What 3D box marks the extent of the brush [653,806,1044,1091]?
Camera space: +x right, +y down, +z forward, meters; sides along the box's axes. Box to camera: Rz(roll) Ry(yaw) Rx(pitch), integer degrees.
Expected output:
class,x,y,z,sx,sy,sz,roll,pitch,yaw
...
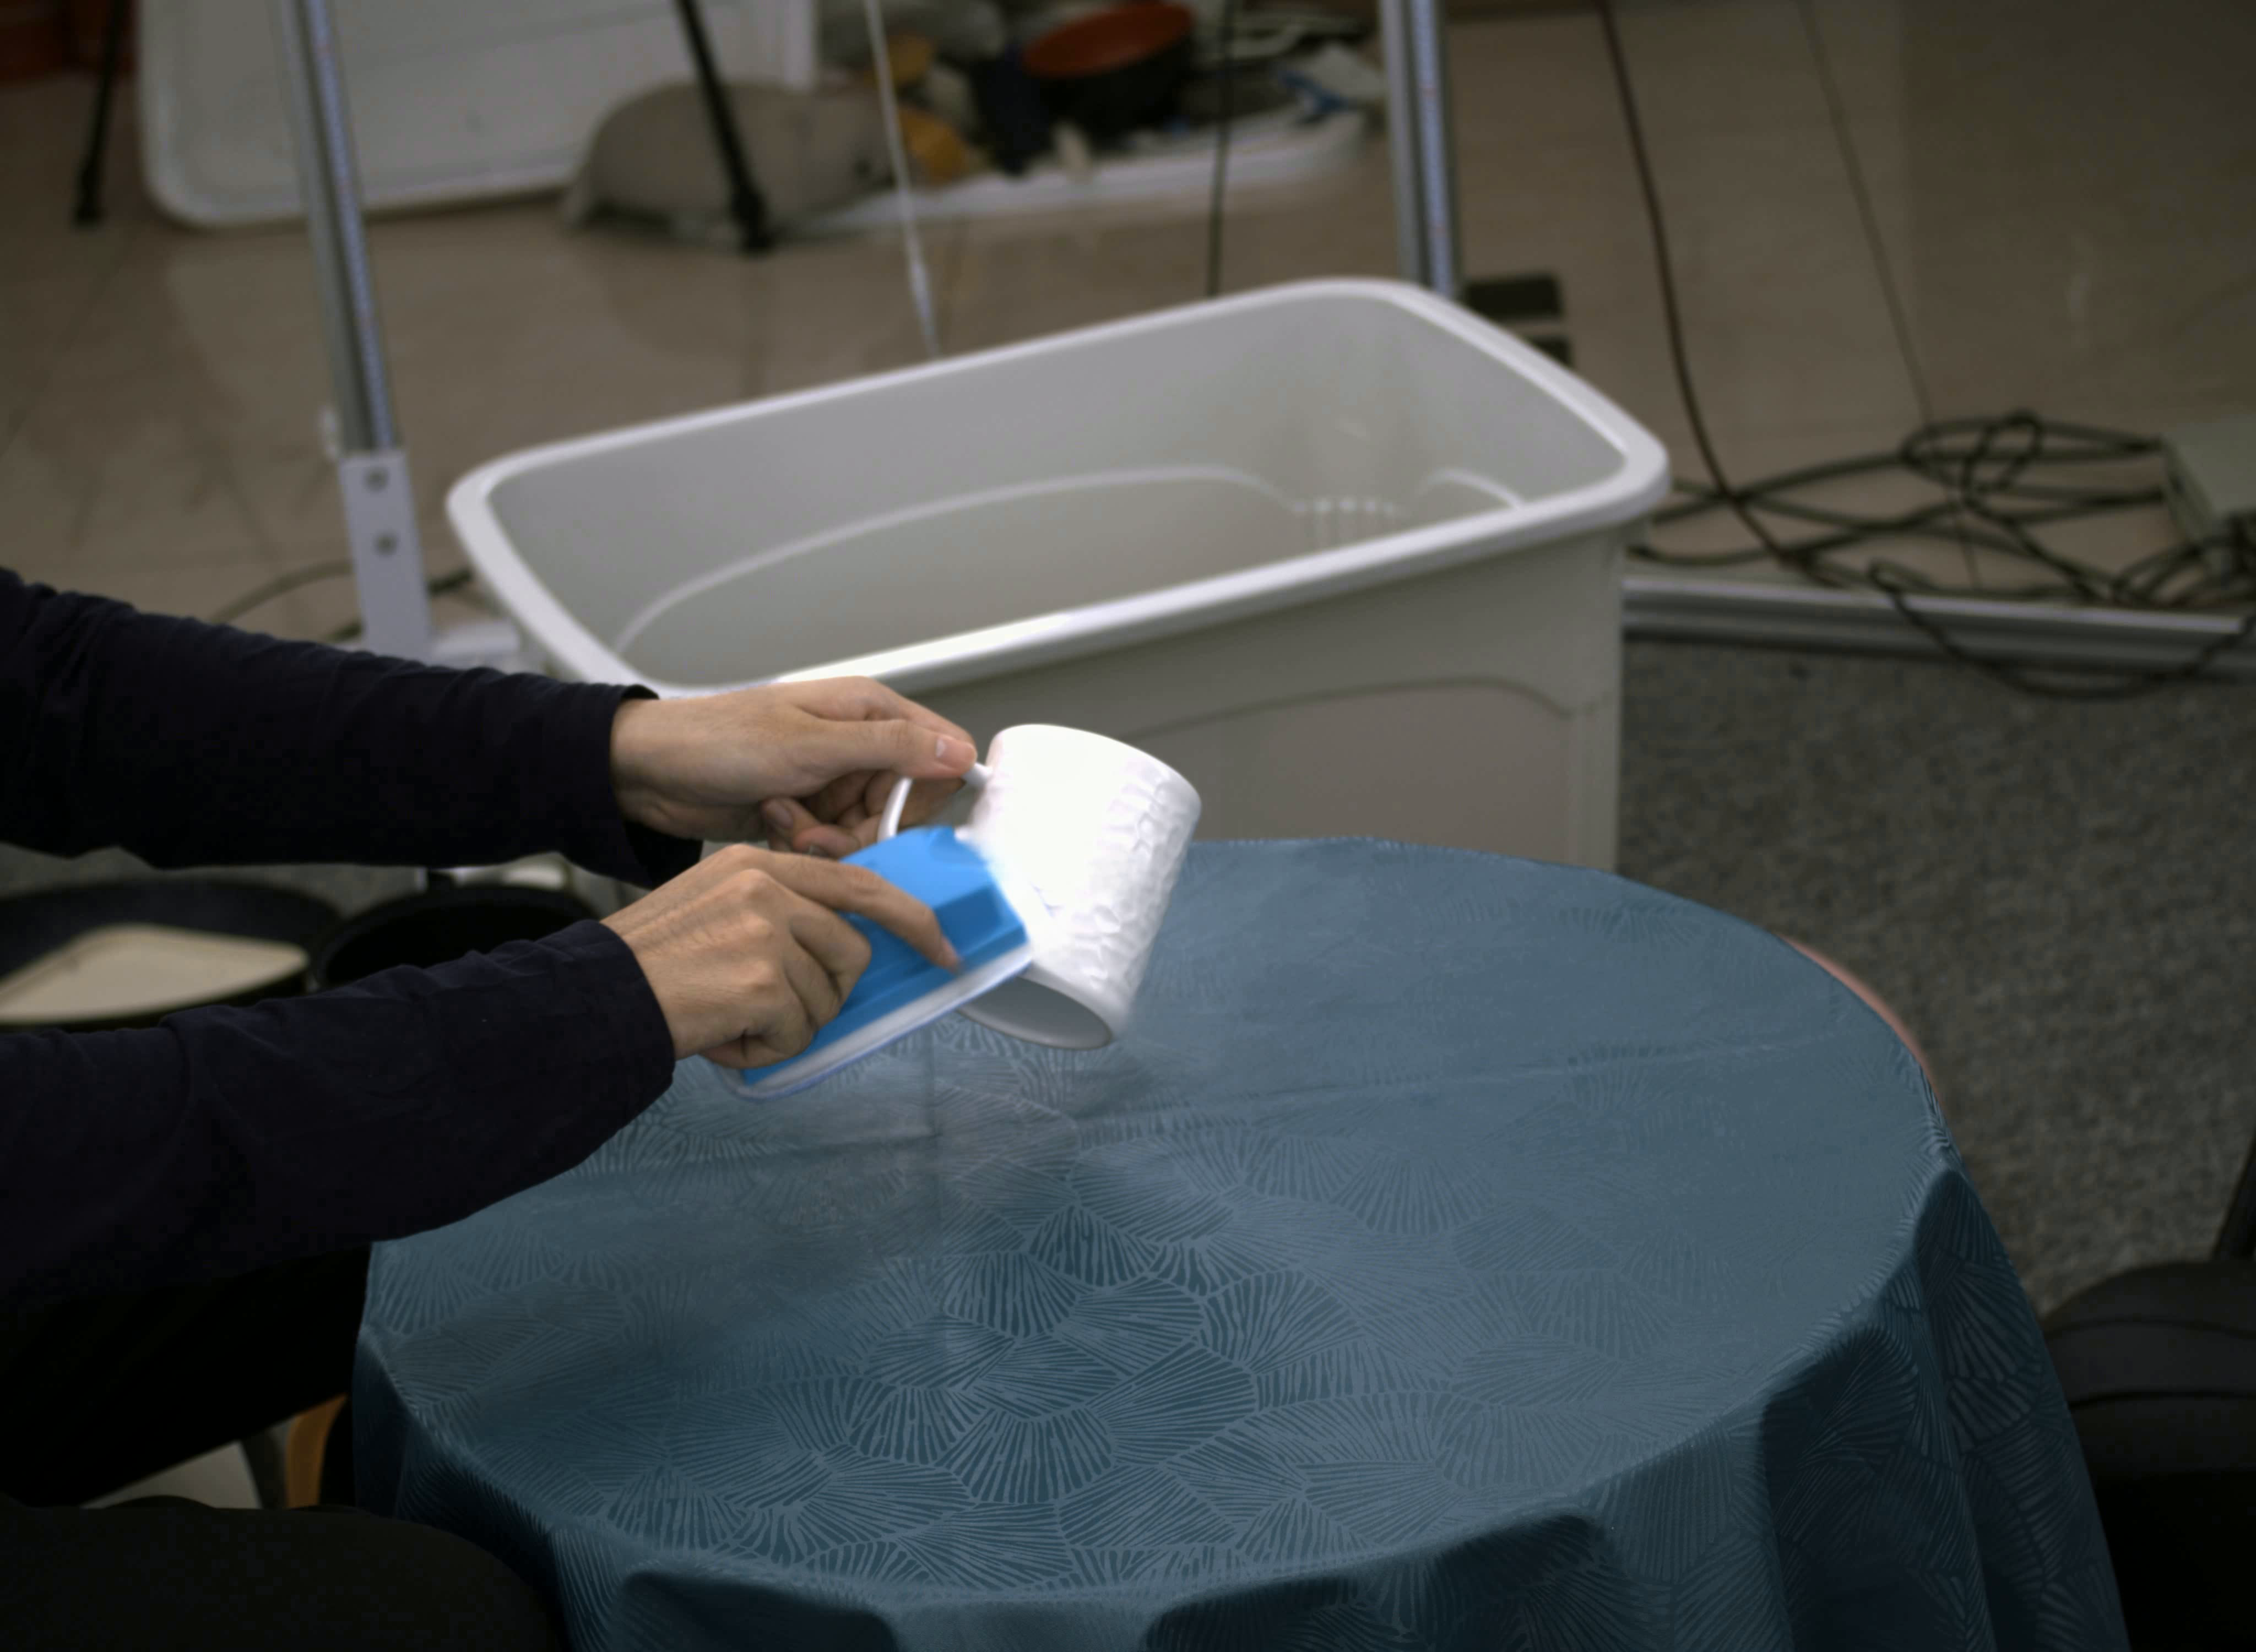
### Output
class,x,y,z,sx,sy,sz,roll,pitch,yaw
brush,-0.107,0.039,2.113,0.143,0.057,0.082,-25,45,-10

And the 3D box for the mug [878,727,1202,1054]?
class,x,y,z,sx,sy,sz,roll,pitch,yaw
mug,-0.041,0.020,2.182,0.118,0.101,0.085,23,-19,-14
